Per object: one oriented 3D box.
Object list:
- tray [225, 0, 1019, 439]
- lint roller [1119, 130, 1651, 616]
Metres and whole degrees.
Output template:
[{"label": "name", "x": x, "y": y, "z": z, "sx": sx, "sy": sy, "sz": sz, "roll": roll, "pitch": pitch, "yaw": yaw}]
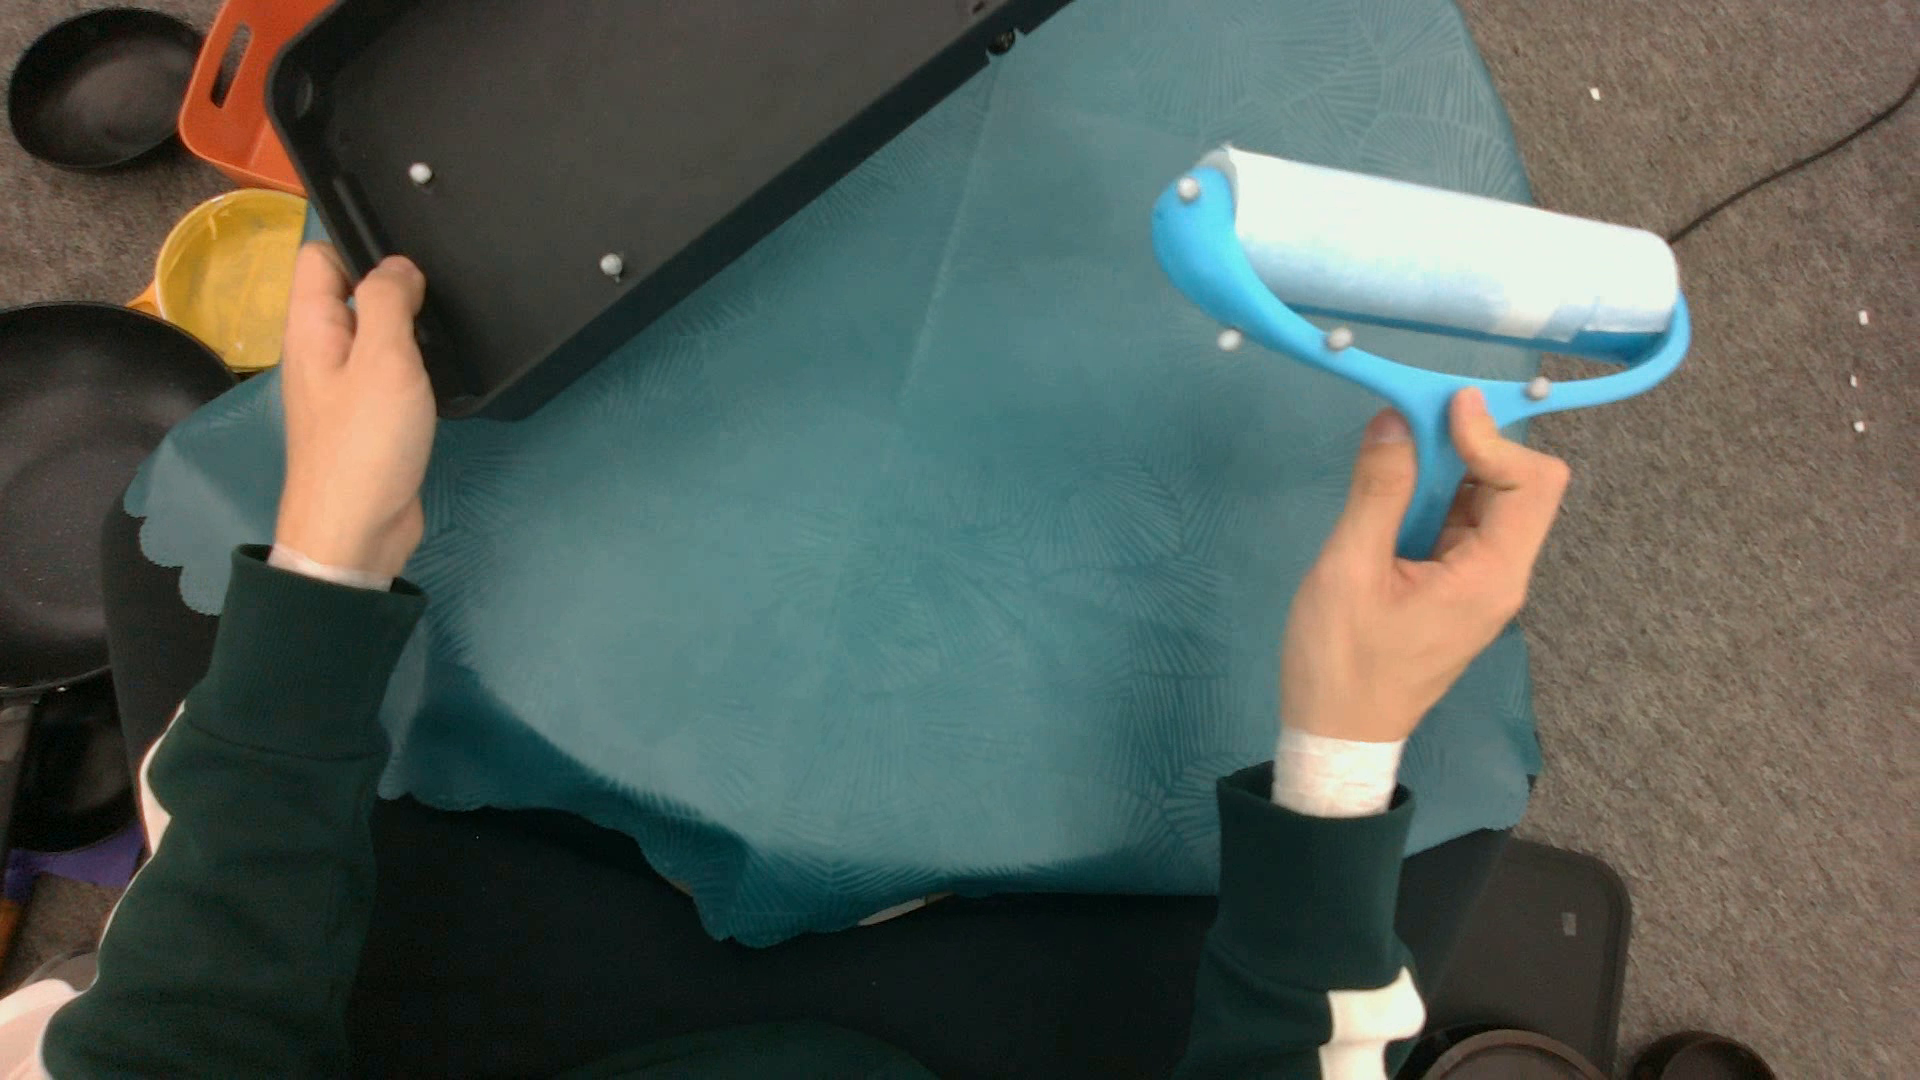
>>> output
[{"label": "tray", "x": -0.132, "y": -0.197, "z": 0.539, "sx": 0.317, "sy": 0.037, "sz": 0.184, "roll": -37, "pitch": 78, "yaw": 10}, {"label": "lint roller", "x": 0.166, "y": -0.058, "z": 0.532, "sx": 0.229, "sy": 0.068, "sz": 0.180, "roll": 0, "pitch": 92, "yaw": -21}]
